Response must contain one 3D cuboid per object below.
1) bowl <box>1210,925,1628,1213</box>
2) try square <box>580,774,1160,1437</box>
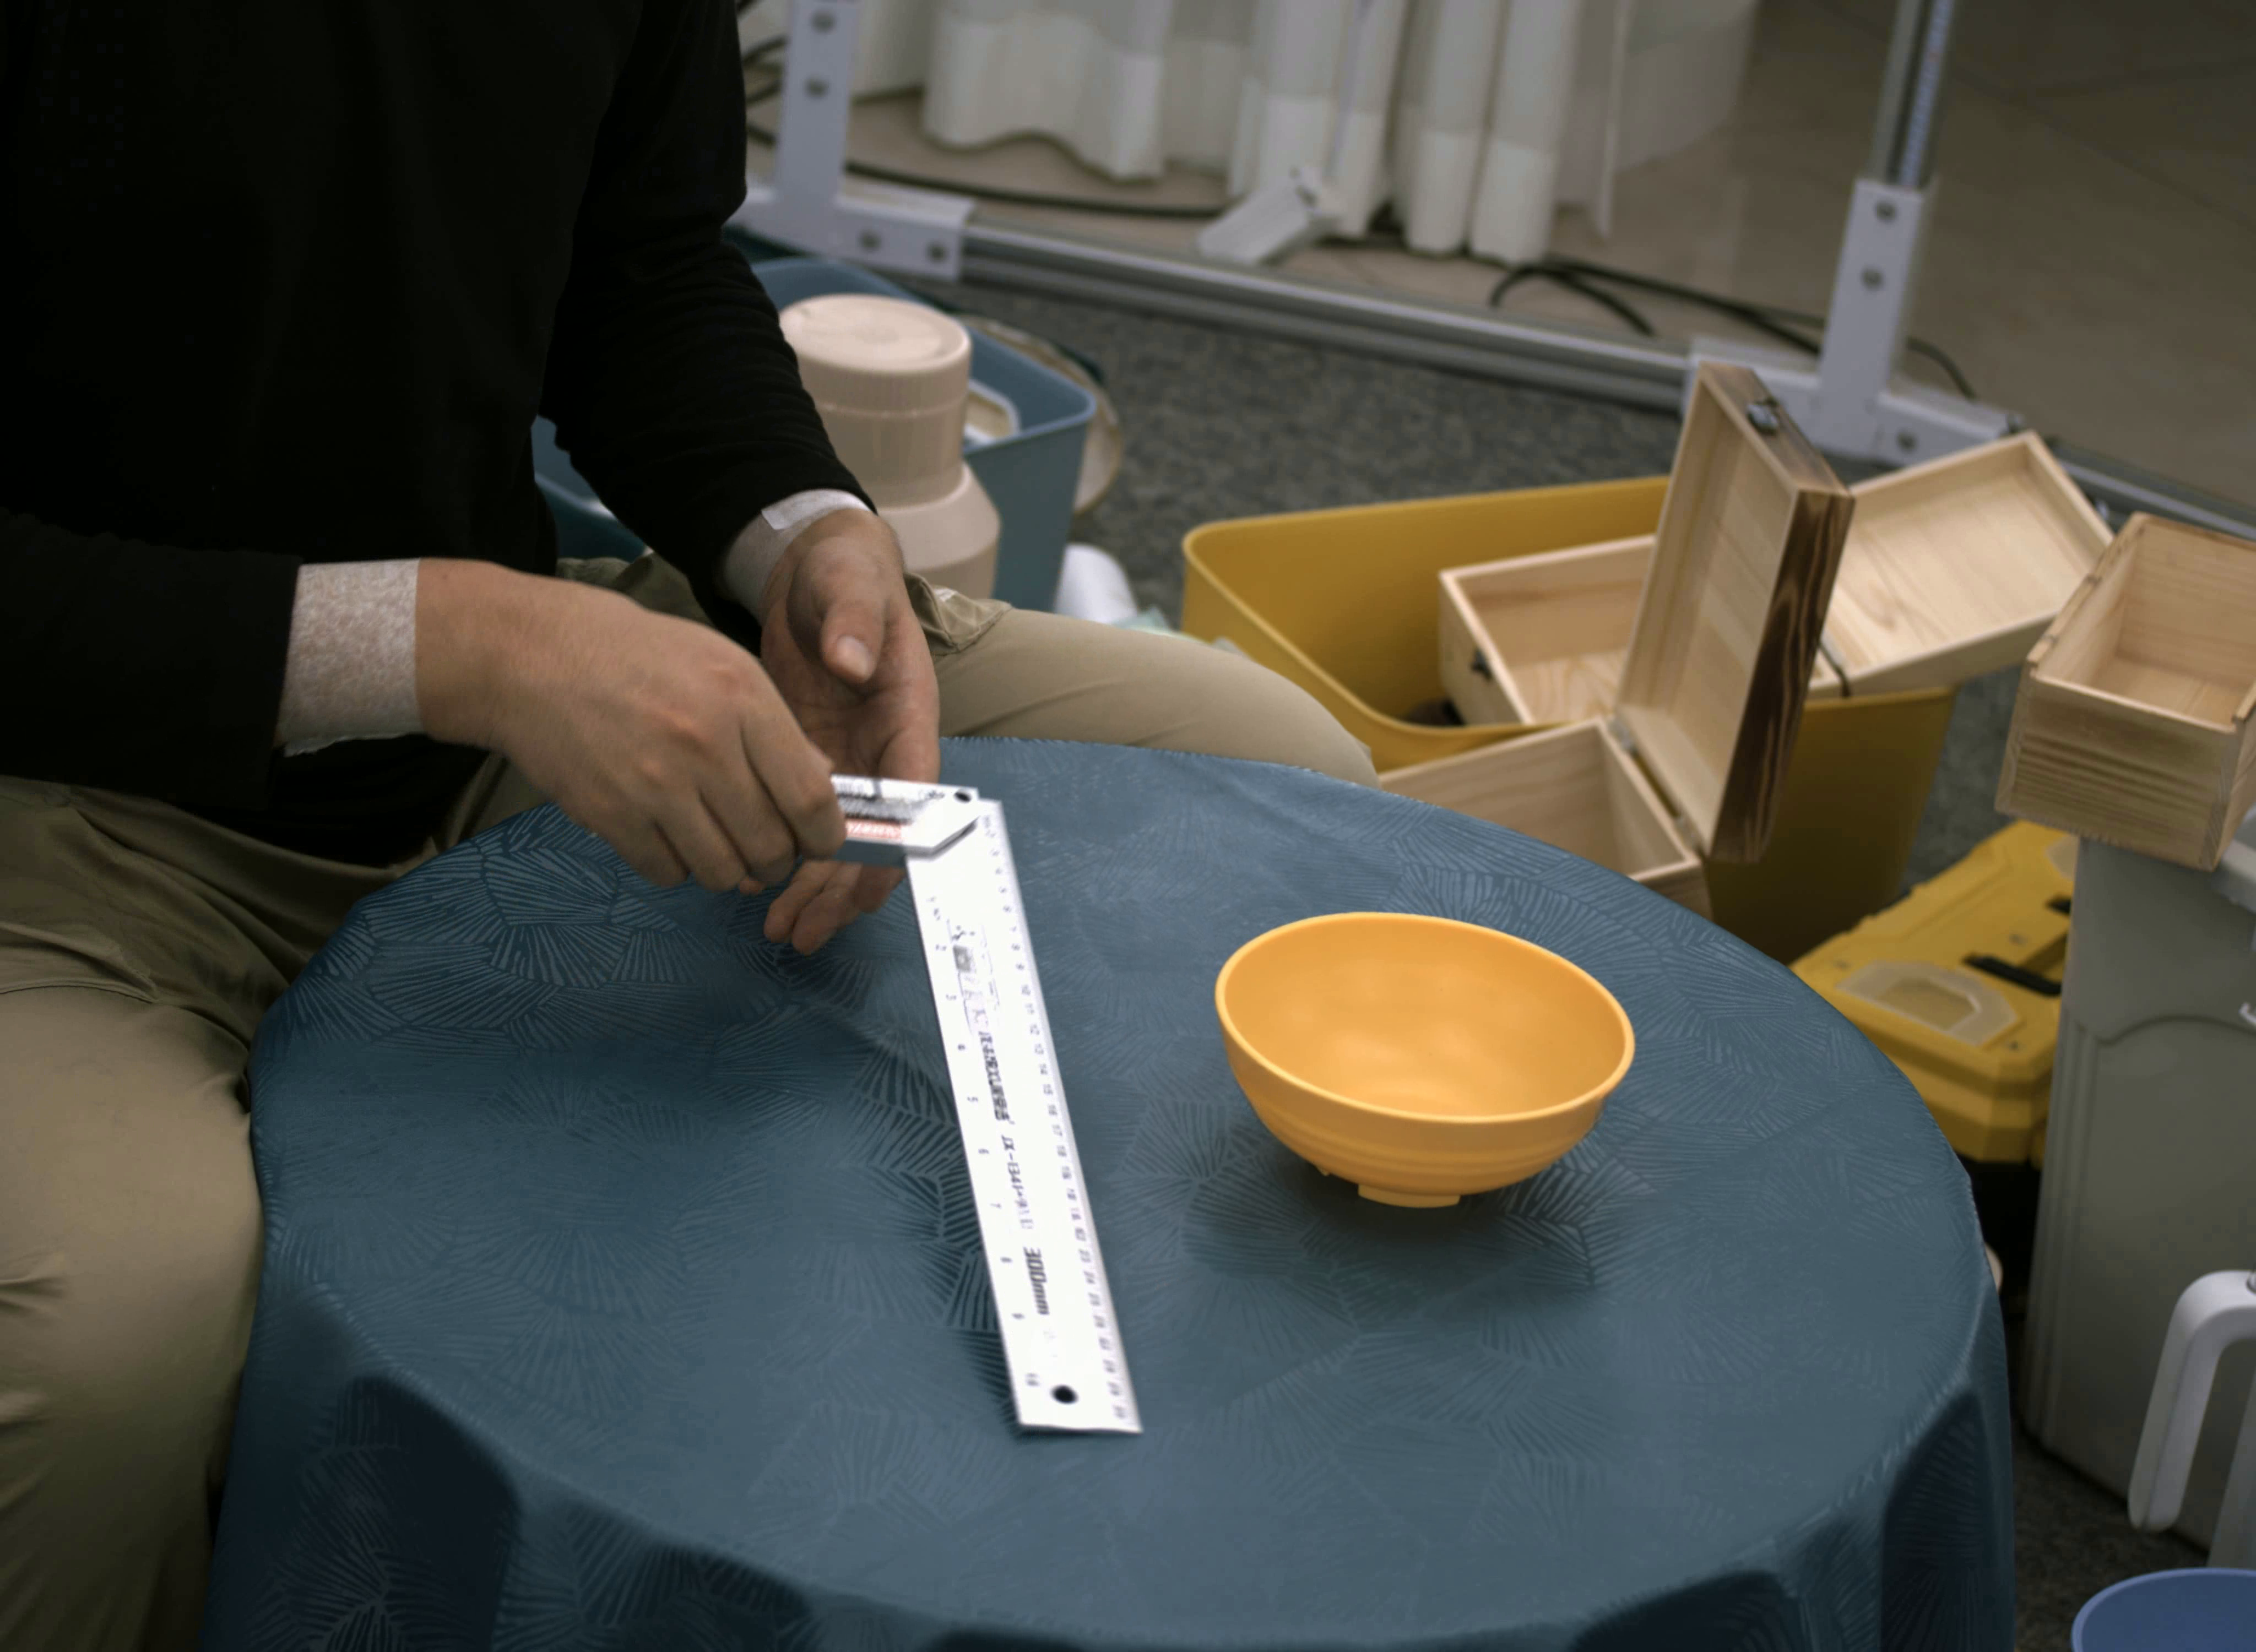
[{"bbox_3d":[0.096,0.091,1.826,0.145,0.060,0.146,5,24,-3],"label":"bowl"},{"bbox_3d":[-0.091,0.088,1.767,0.151,0.016,0.316,3,39,-16],"label":"try square"}]
